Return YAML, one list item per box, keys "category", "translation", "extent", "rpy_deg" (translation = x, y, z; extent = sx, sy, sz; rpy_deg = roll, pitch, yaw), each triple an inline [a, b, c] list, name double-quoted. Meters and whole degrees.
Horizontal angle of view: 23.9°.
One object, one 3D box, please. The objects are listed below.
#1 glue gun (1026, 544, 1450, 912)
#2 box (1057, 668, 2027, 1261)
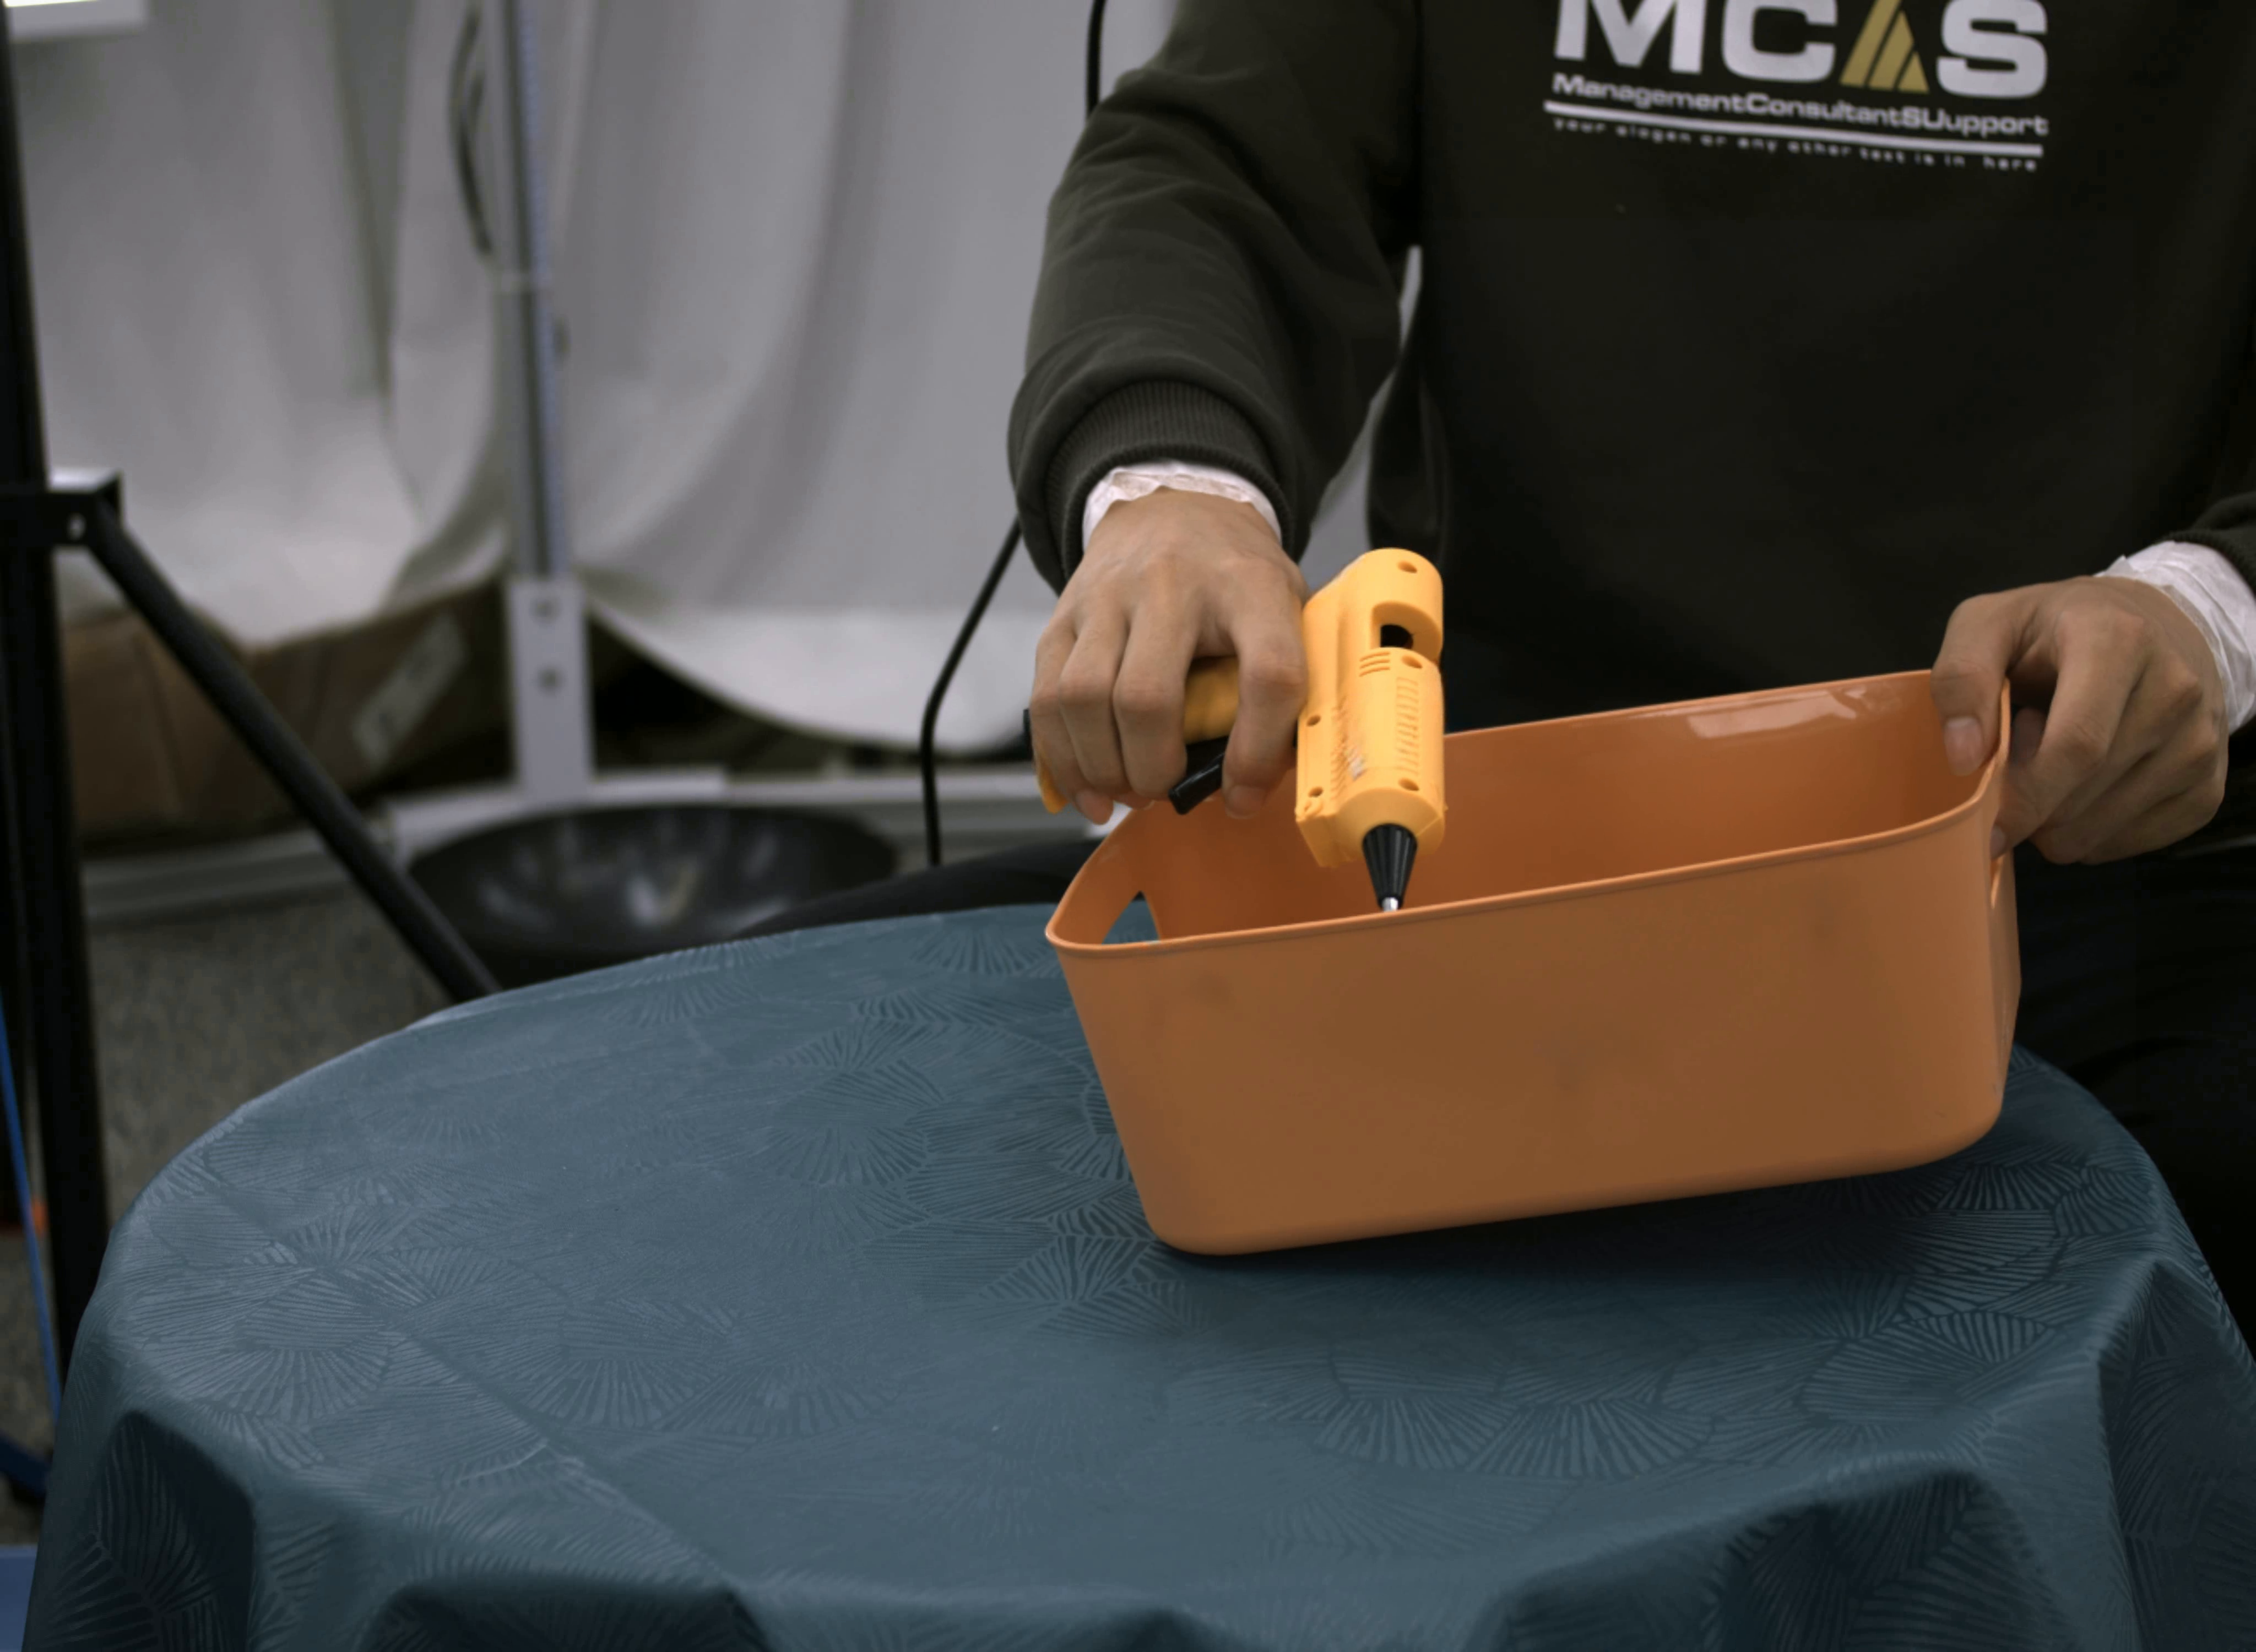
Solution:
- category: "glue gun"
  translation: [0.034, -0.010, 1.508]
  extent: [0.134, 0.030, 0.153]
  rpy_deg: [-21, 35, 13]
- category: "box"
  translation: [0.129, 0.041, 1.529]
  extent: [0.275, 0.102, 0.198]
  rpy_deg: [-9, 13, 15]
